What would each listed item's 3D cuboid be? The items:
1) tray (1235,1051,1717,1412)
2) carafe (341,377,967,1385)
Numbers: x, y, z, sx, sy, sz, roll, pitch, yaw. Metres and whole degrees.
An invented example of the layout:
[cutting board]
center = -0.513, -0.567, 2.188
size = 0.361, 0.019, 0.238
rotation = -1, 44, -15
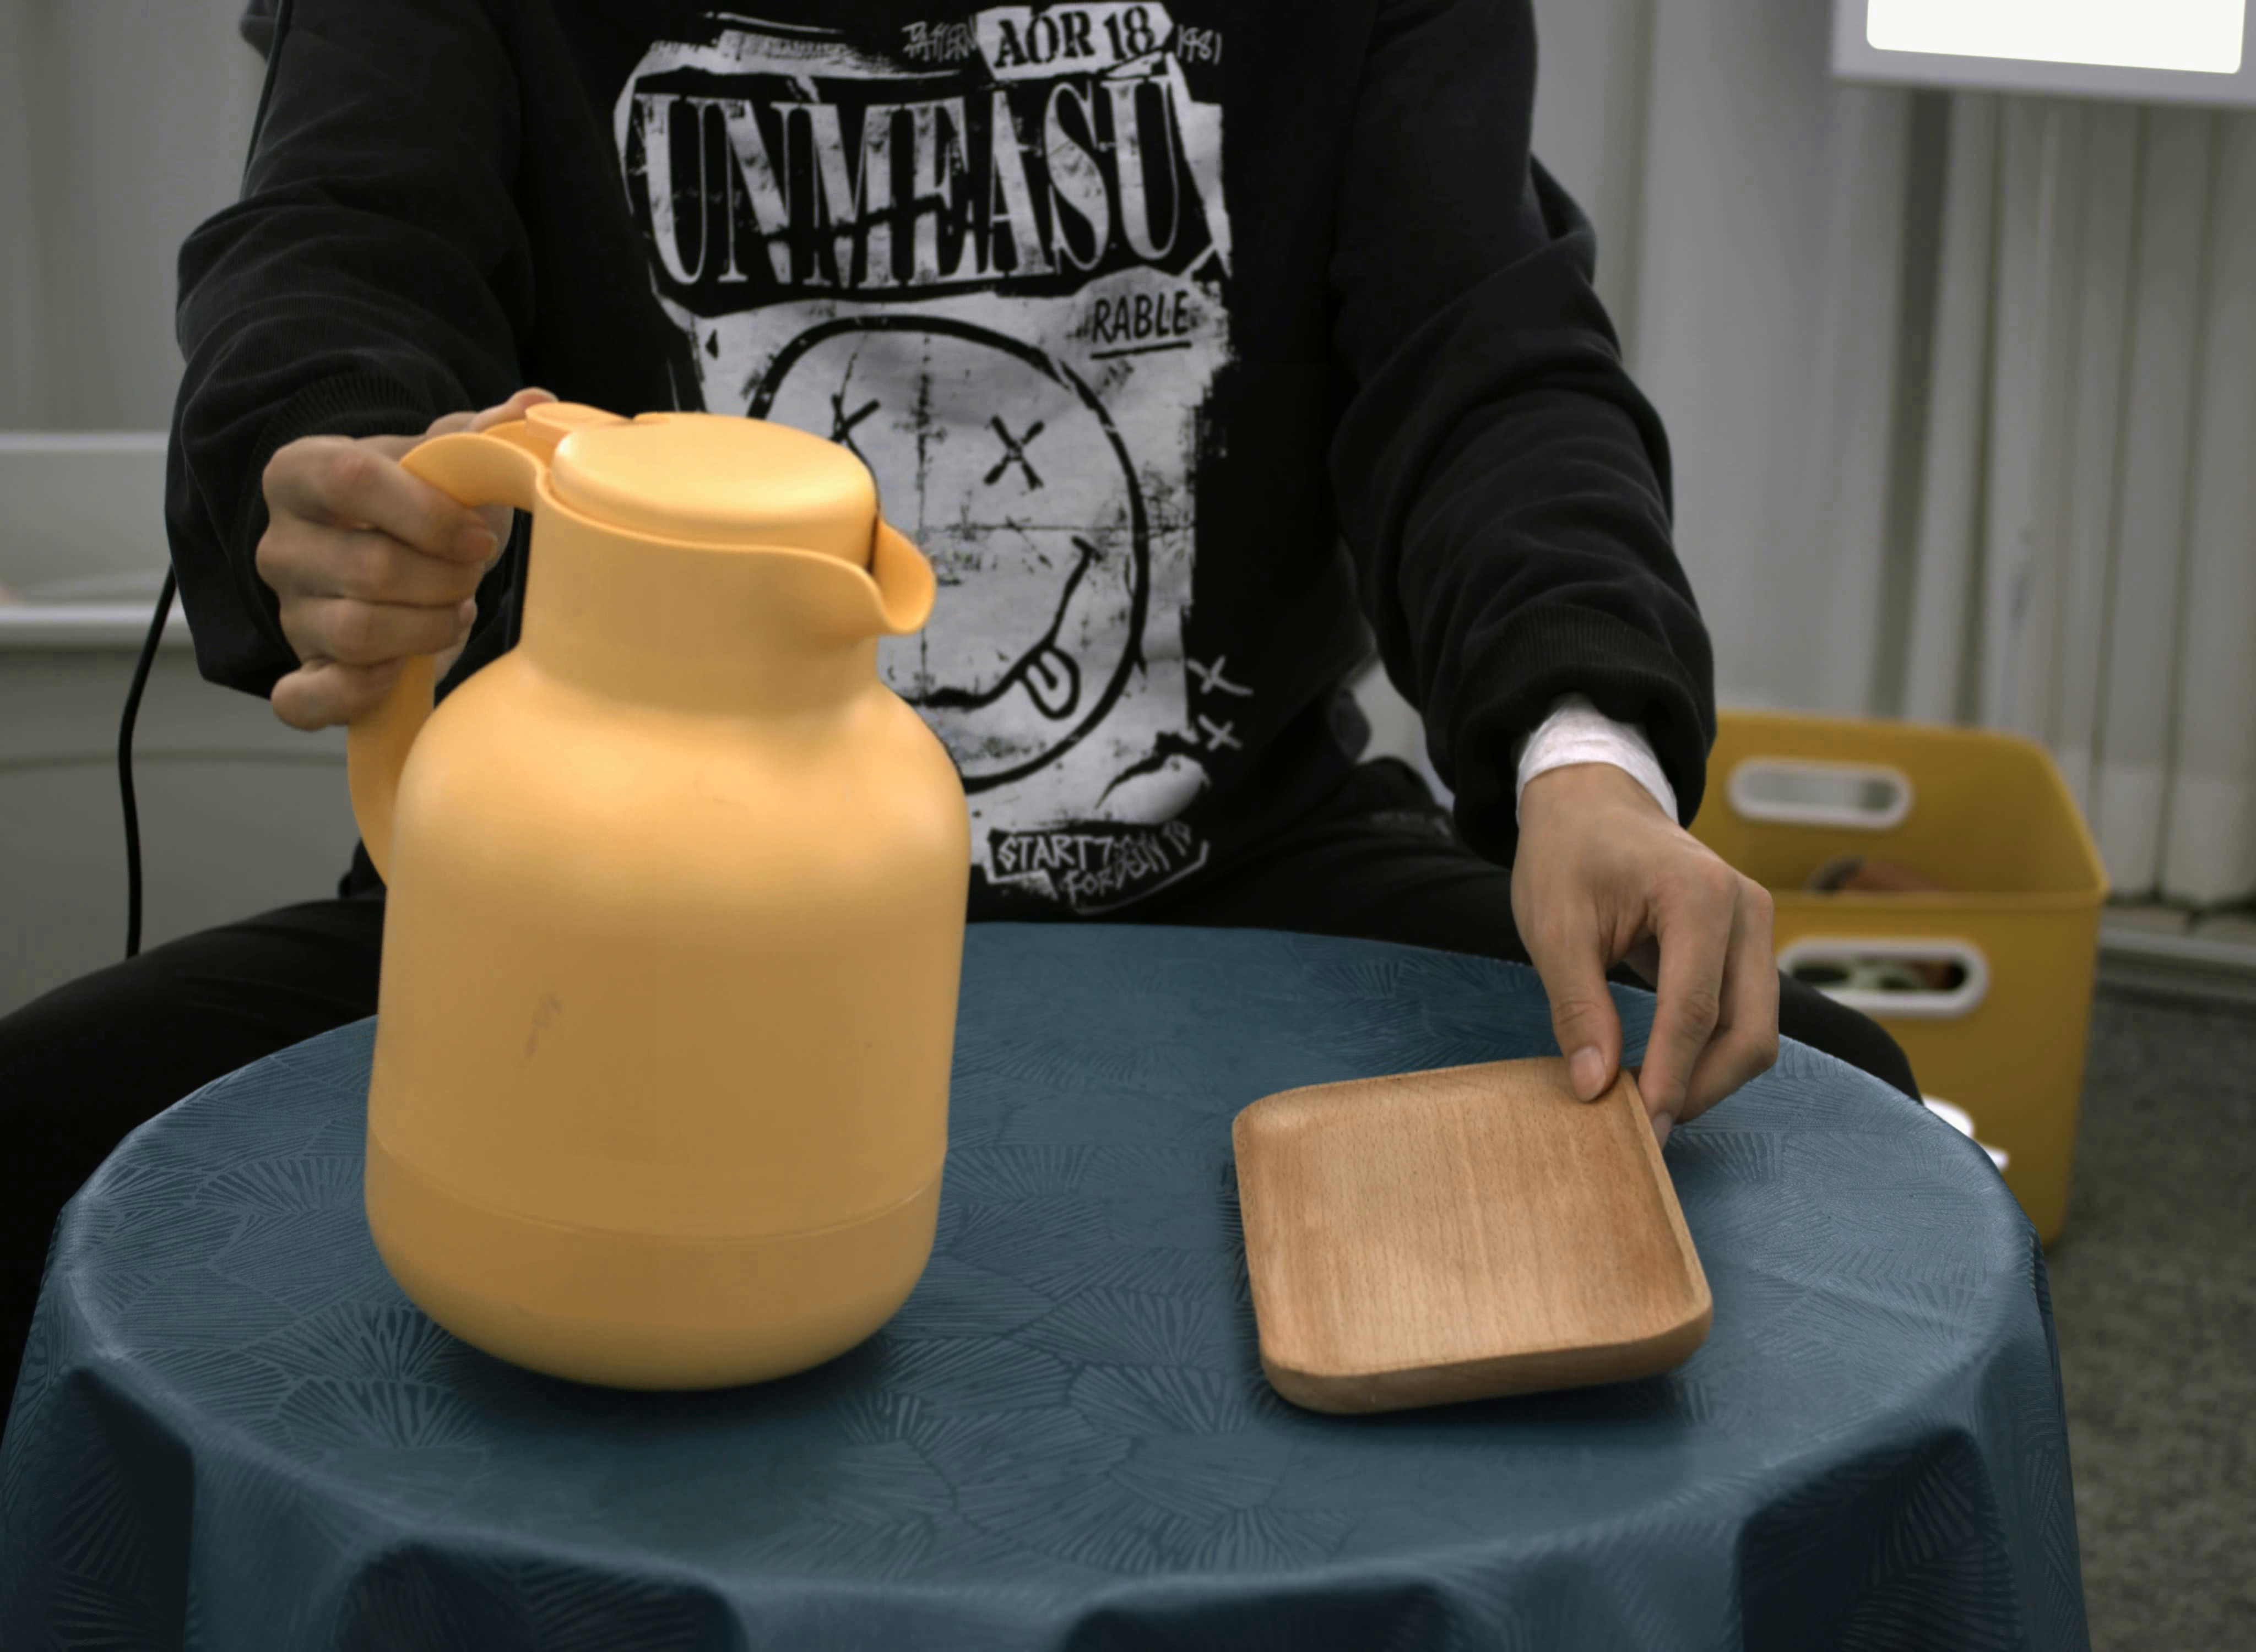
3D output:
[tray]
center = 0.098, 0.116, 1.552
size = 0.130, 0.023, 0.249
rotation = -5, 15, 1
[carafe]
center = -0.140, 0.007, 1.462
size = 0.199, 0.262, 0.164
rotation = 24, 24, 34
